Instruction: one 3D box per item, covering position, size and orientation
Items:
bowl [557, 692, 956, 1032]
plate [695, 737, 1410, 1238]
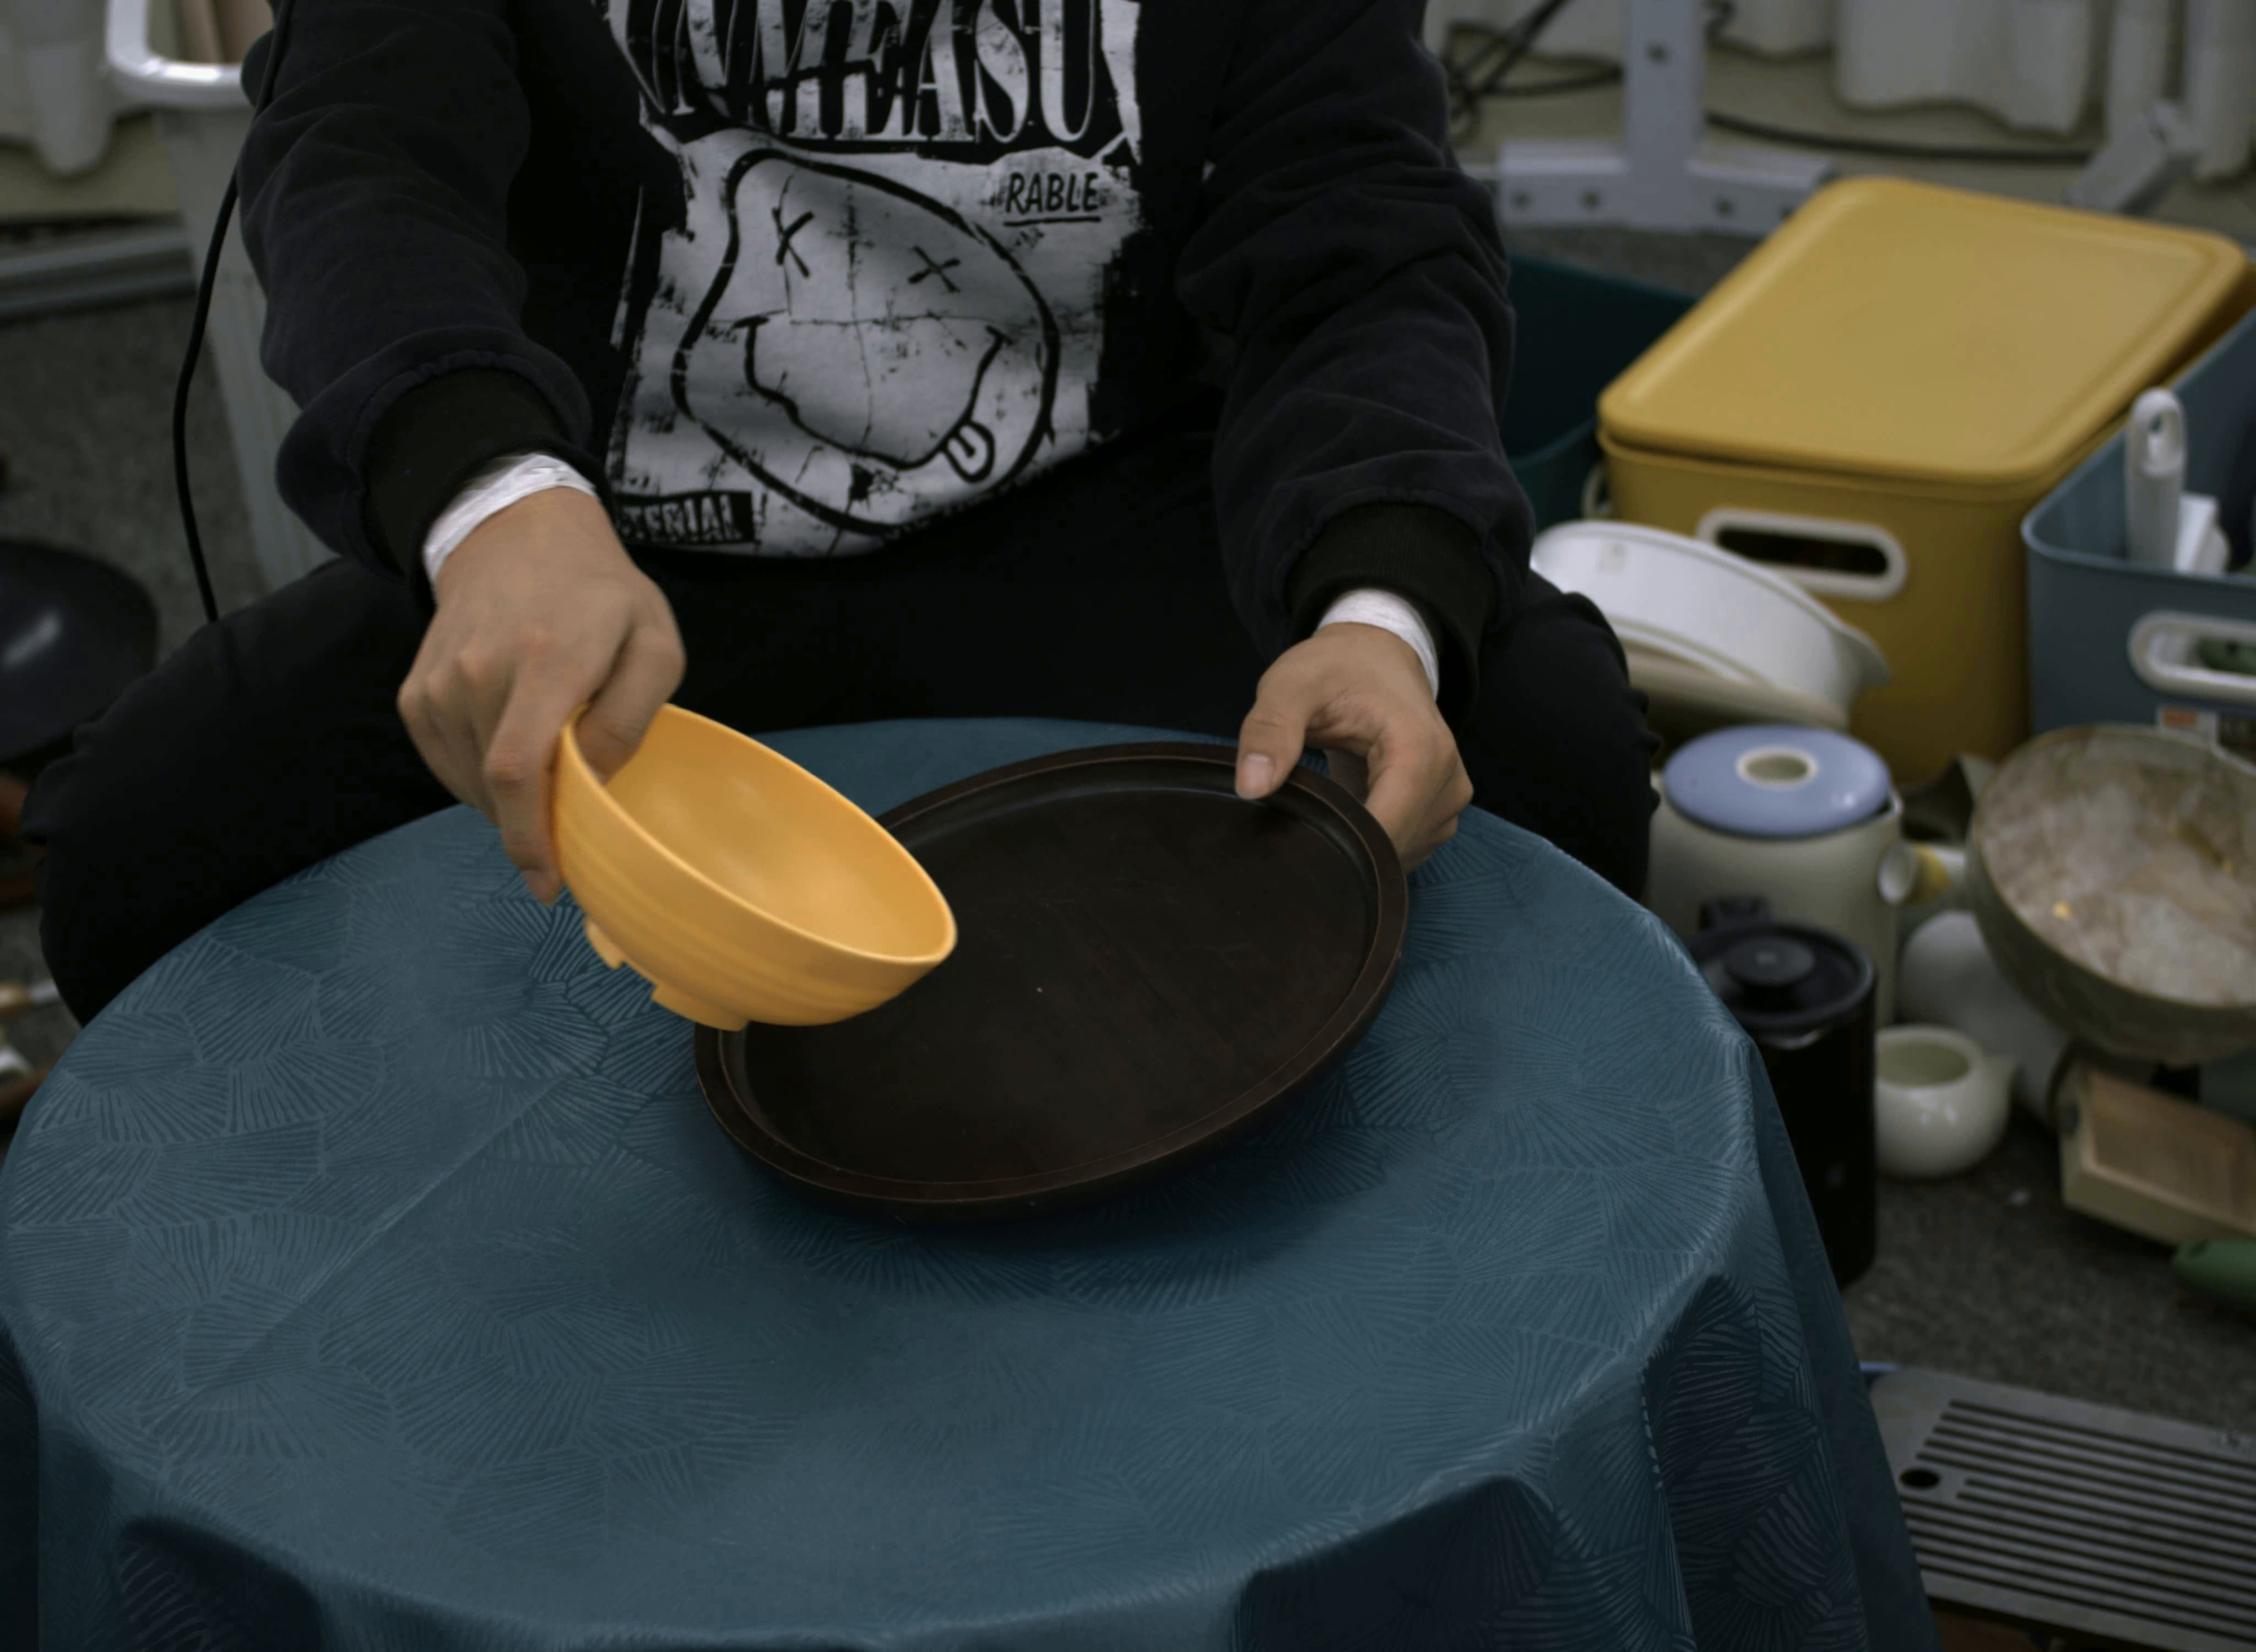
[{"bbox_3d":[-0.130,0.023,1.803,0.145,0.060,0.147,32,14,-8],"label":"bowl"},{"bbox_3d":[-0.025,0.054,1.919,0.253,0.029,0.259,-12,33,9],"label":"plate"}]
